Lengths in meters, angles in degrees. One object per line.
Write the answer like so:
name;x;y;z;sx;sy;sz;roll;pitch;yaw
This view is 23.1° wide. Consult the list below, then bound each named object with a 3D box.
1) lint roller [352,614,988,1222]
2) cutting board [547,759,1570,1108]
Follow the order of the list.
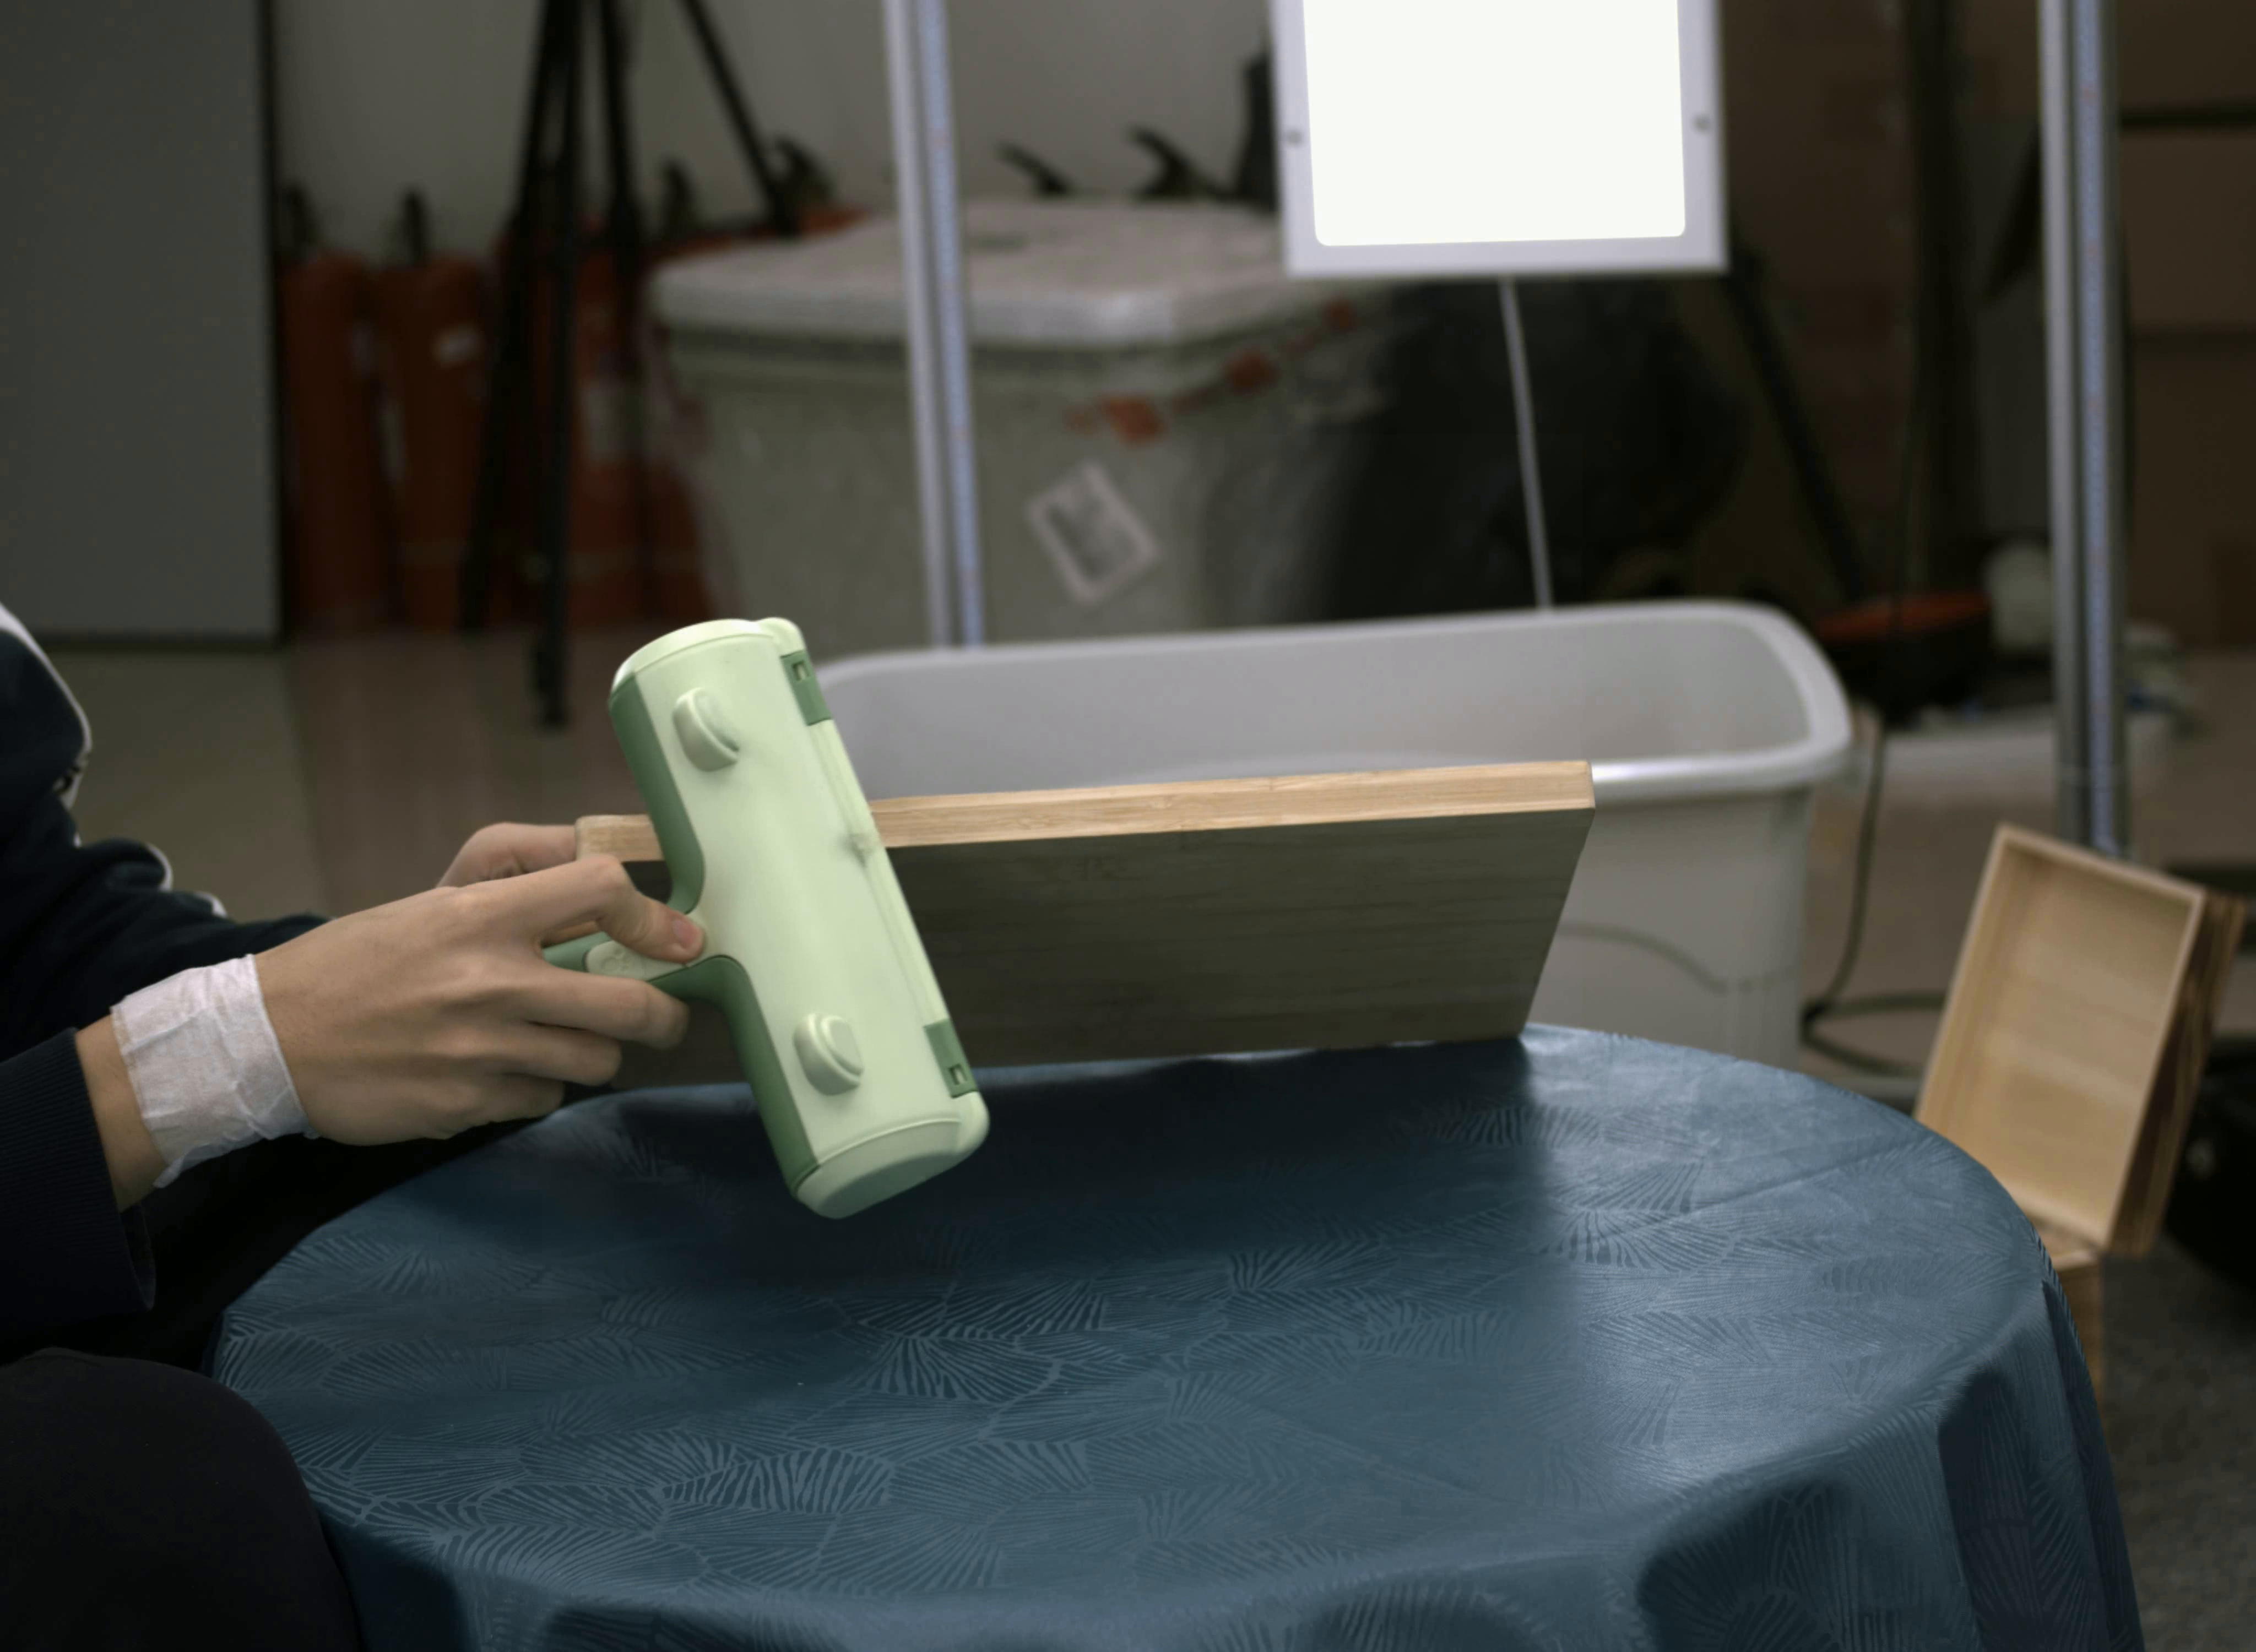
lint roller;-0.161;0.043;1.760;0.181;0.199;0.083;-18;-18;-10
cutting board;-0.023;0.040;1.927;0.347;0.023;0.252;-3;-21;-2
